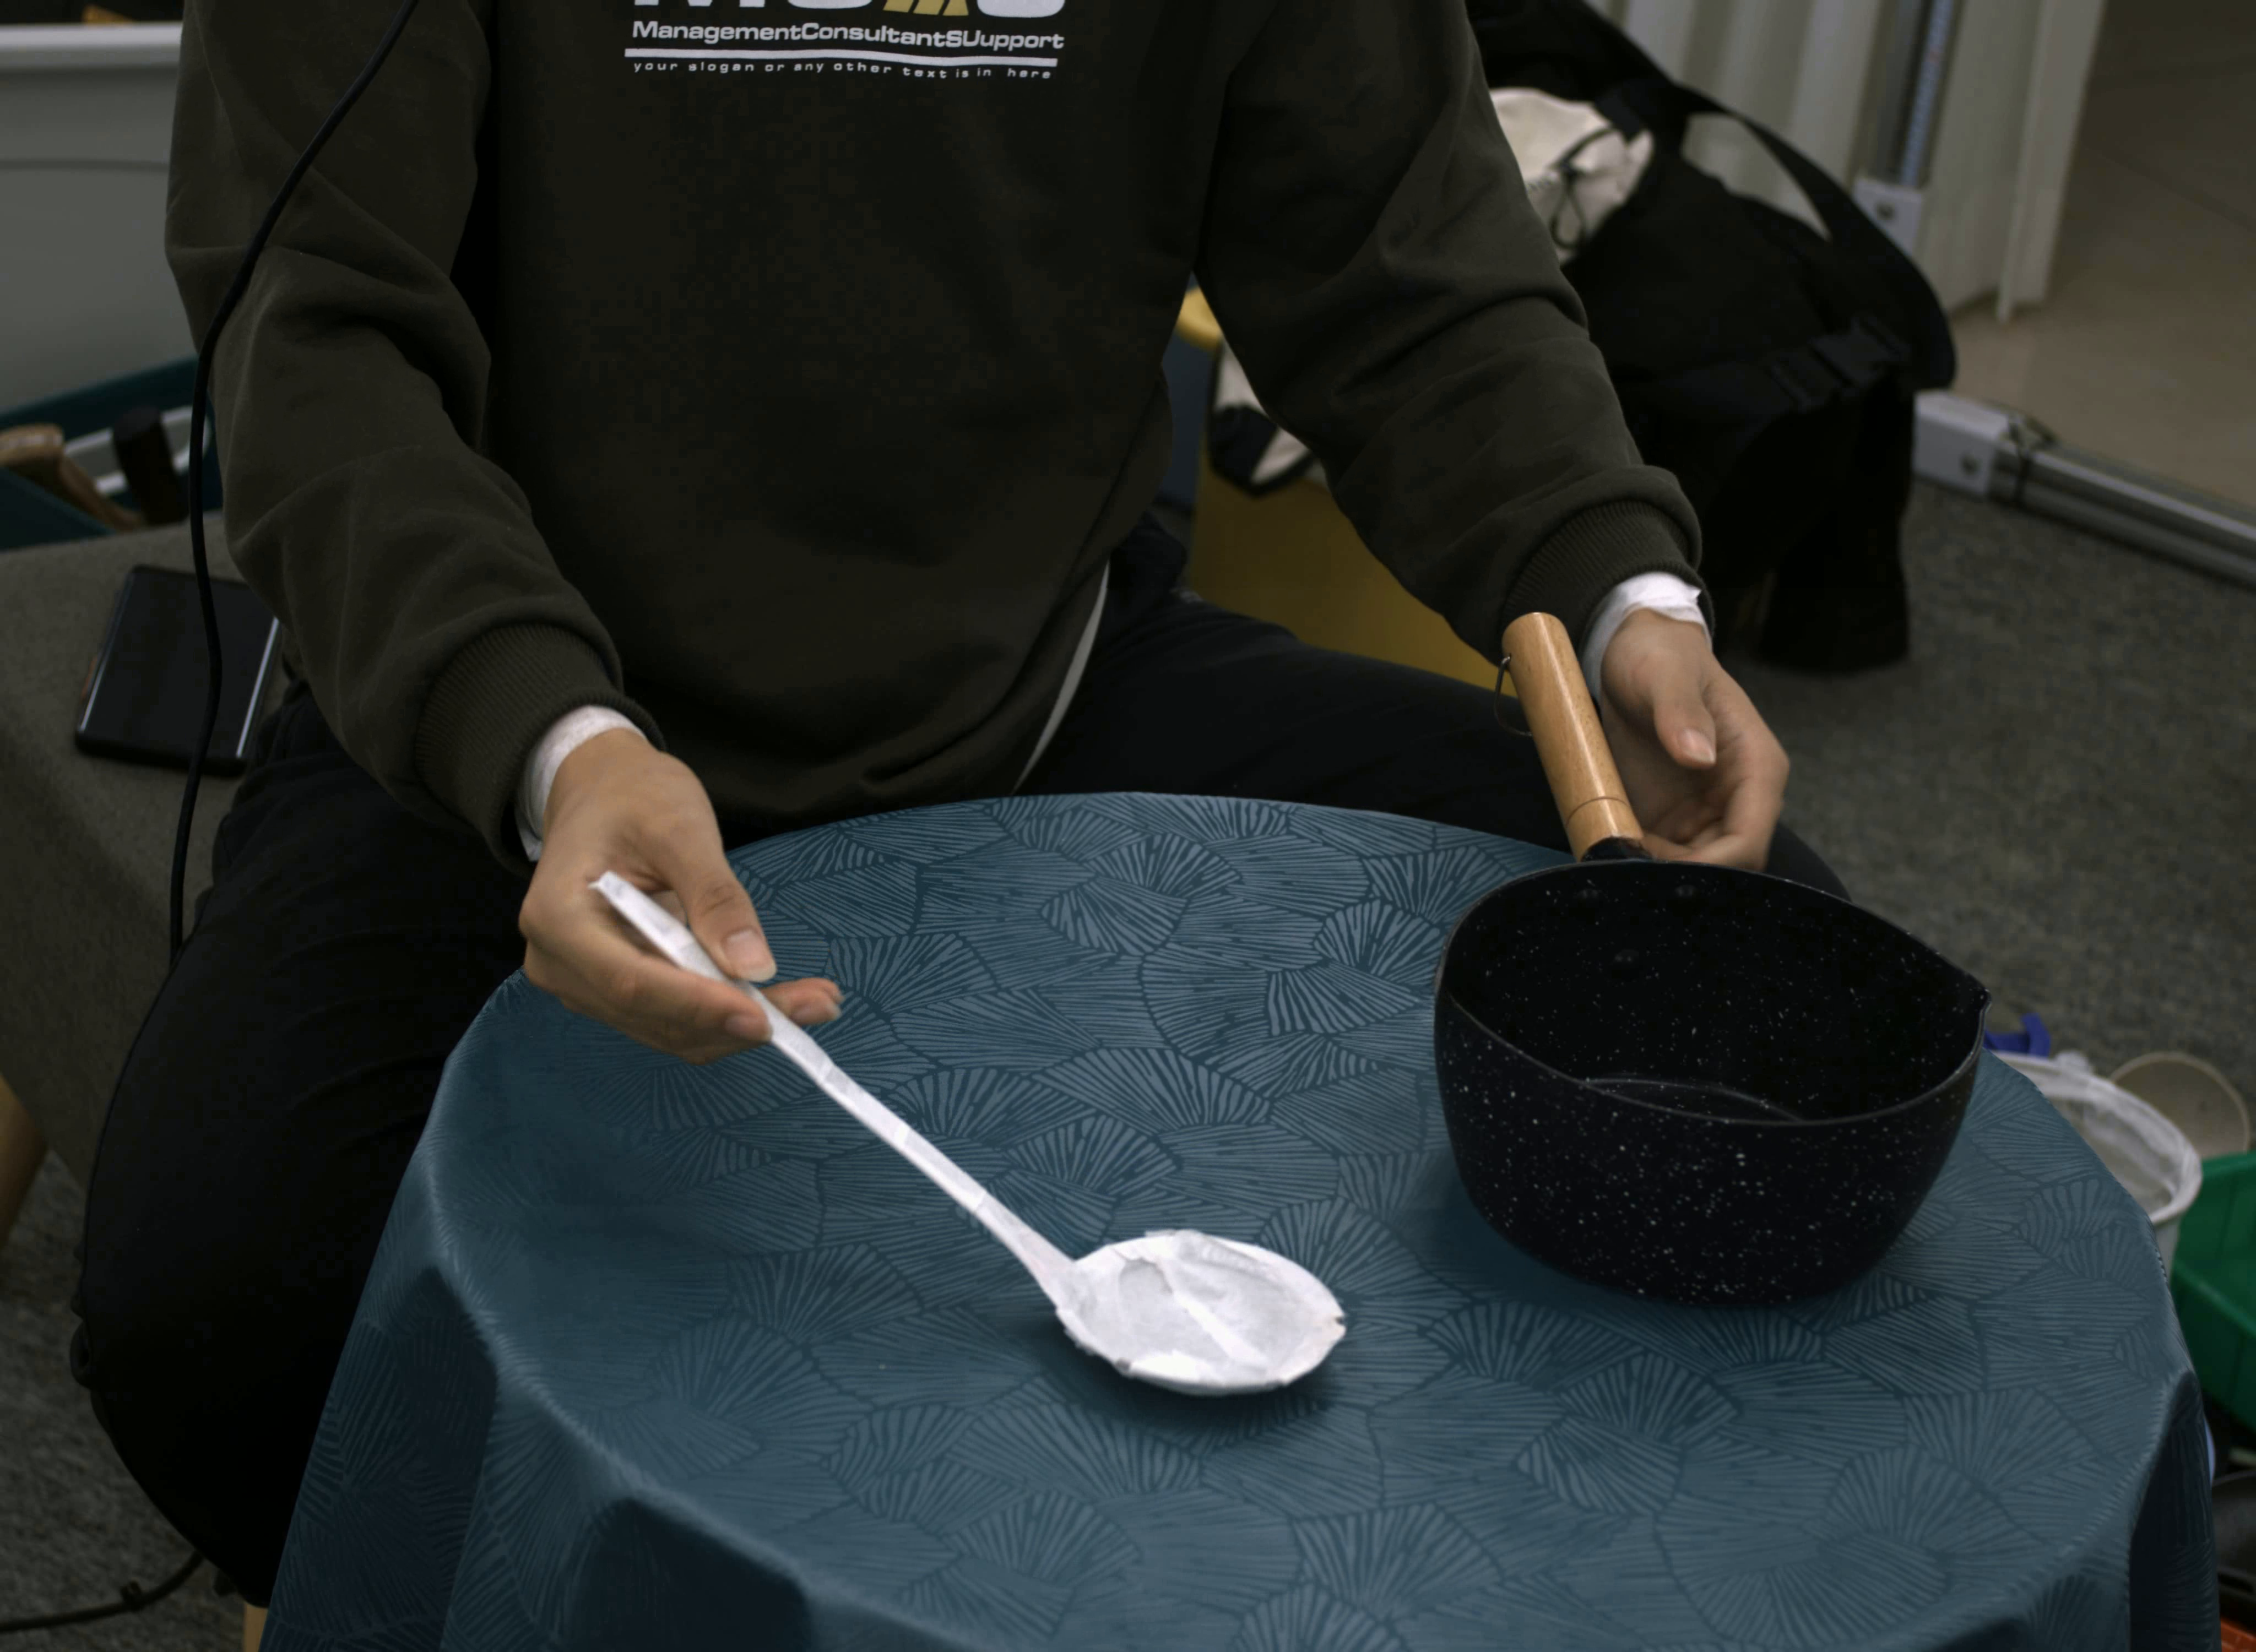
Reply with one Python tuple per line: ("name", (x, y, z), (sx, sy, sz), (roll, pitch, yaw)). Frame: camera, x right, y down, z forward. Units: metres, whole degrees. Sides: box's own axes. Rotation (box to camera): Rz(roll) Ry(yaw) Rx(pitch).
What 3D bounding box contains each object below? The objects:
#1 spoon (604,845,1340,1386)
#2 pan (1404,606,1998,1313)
("spoon", (-0.050, 0.085, 1.713), (0.277, 0.059, 0.101), (44, 24, -1))
("pan", (0.178, 0.044, 1.885), (0.206, 0.108, 0.345), (-1, 29, -12))
